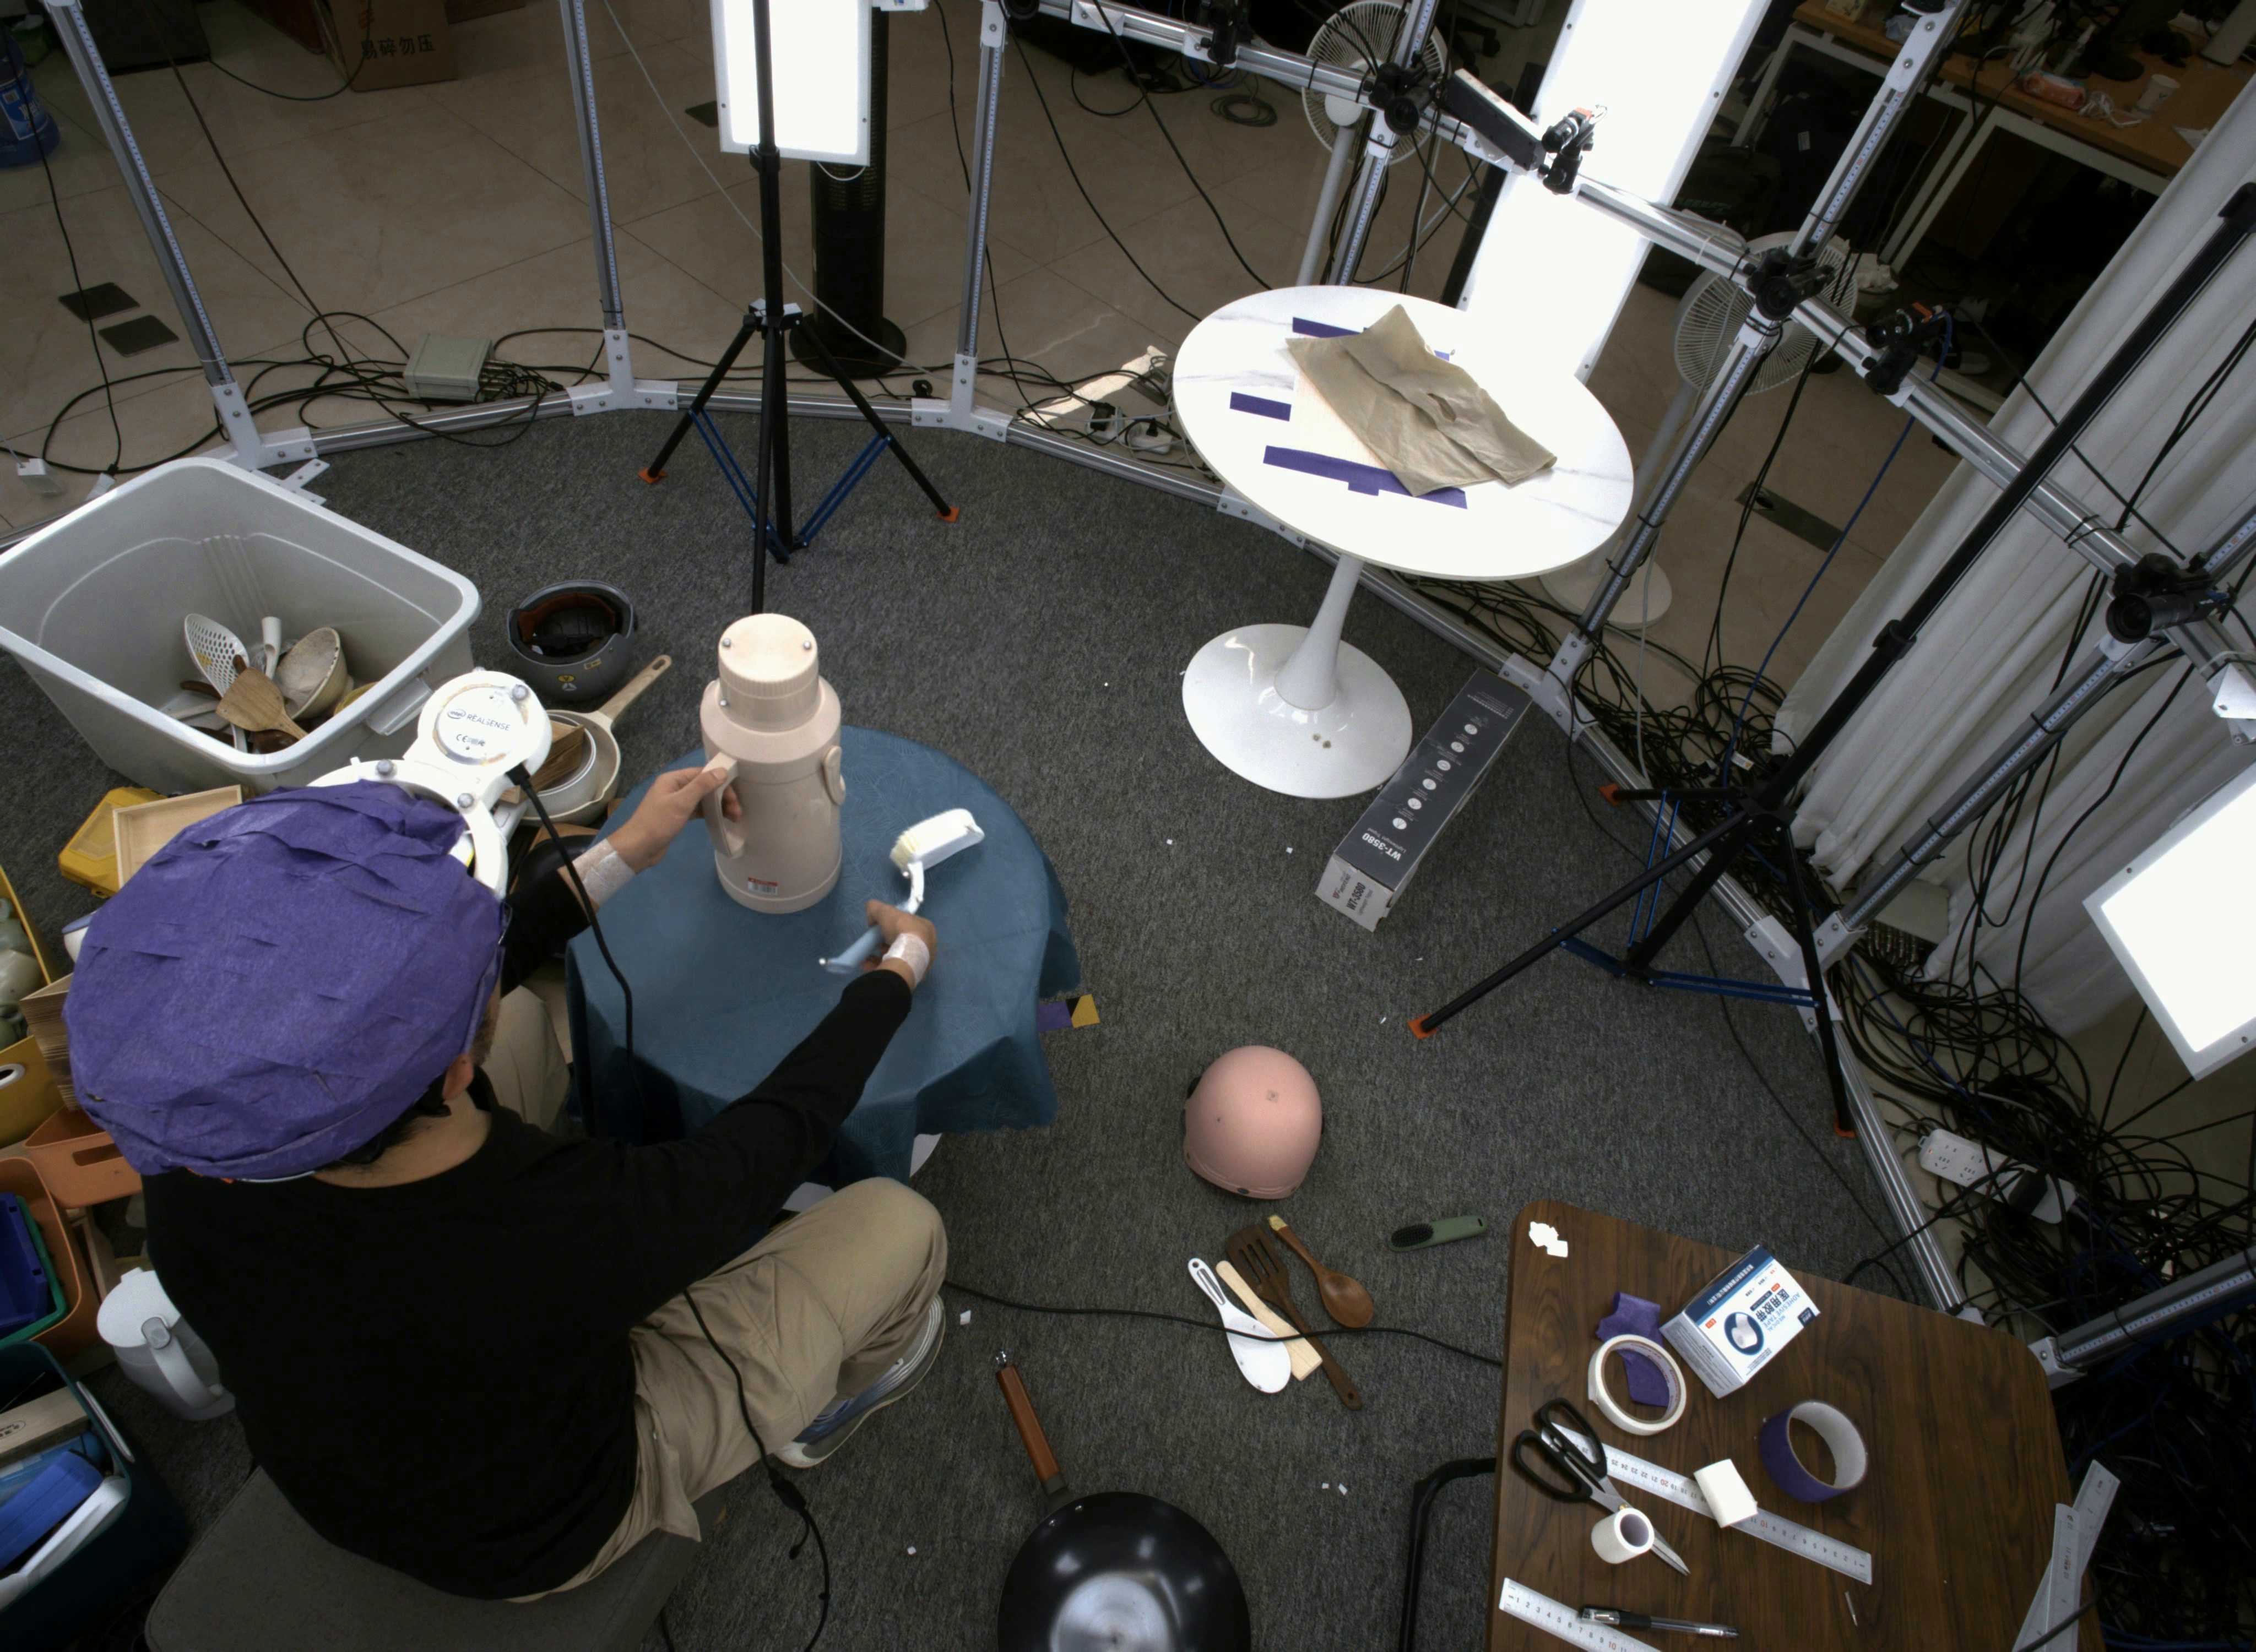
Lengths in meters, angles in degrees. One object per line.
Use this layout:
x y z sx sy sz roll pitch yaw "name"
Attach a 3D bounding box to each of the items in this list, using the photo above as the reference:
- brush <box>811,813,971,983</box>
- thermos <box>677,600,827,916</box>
-0.309 0.069 1.621 0.082 0.086 0.324 16 38 23 "brush"
-0.446 -0.066 1.505 0.173 0.414 0.206 26 51 7 "thermos"
